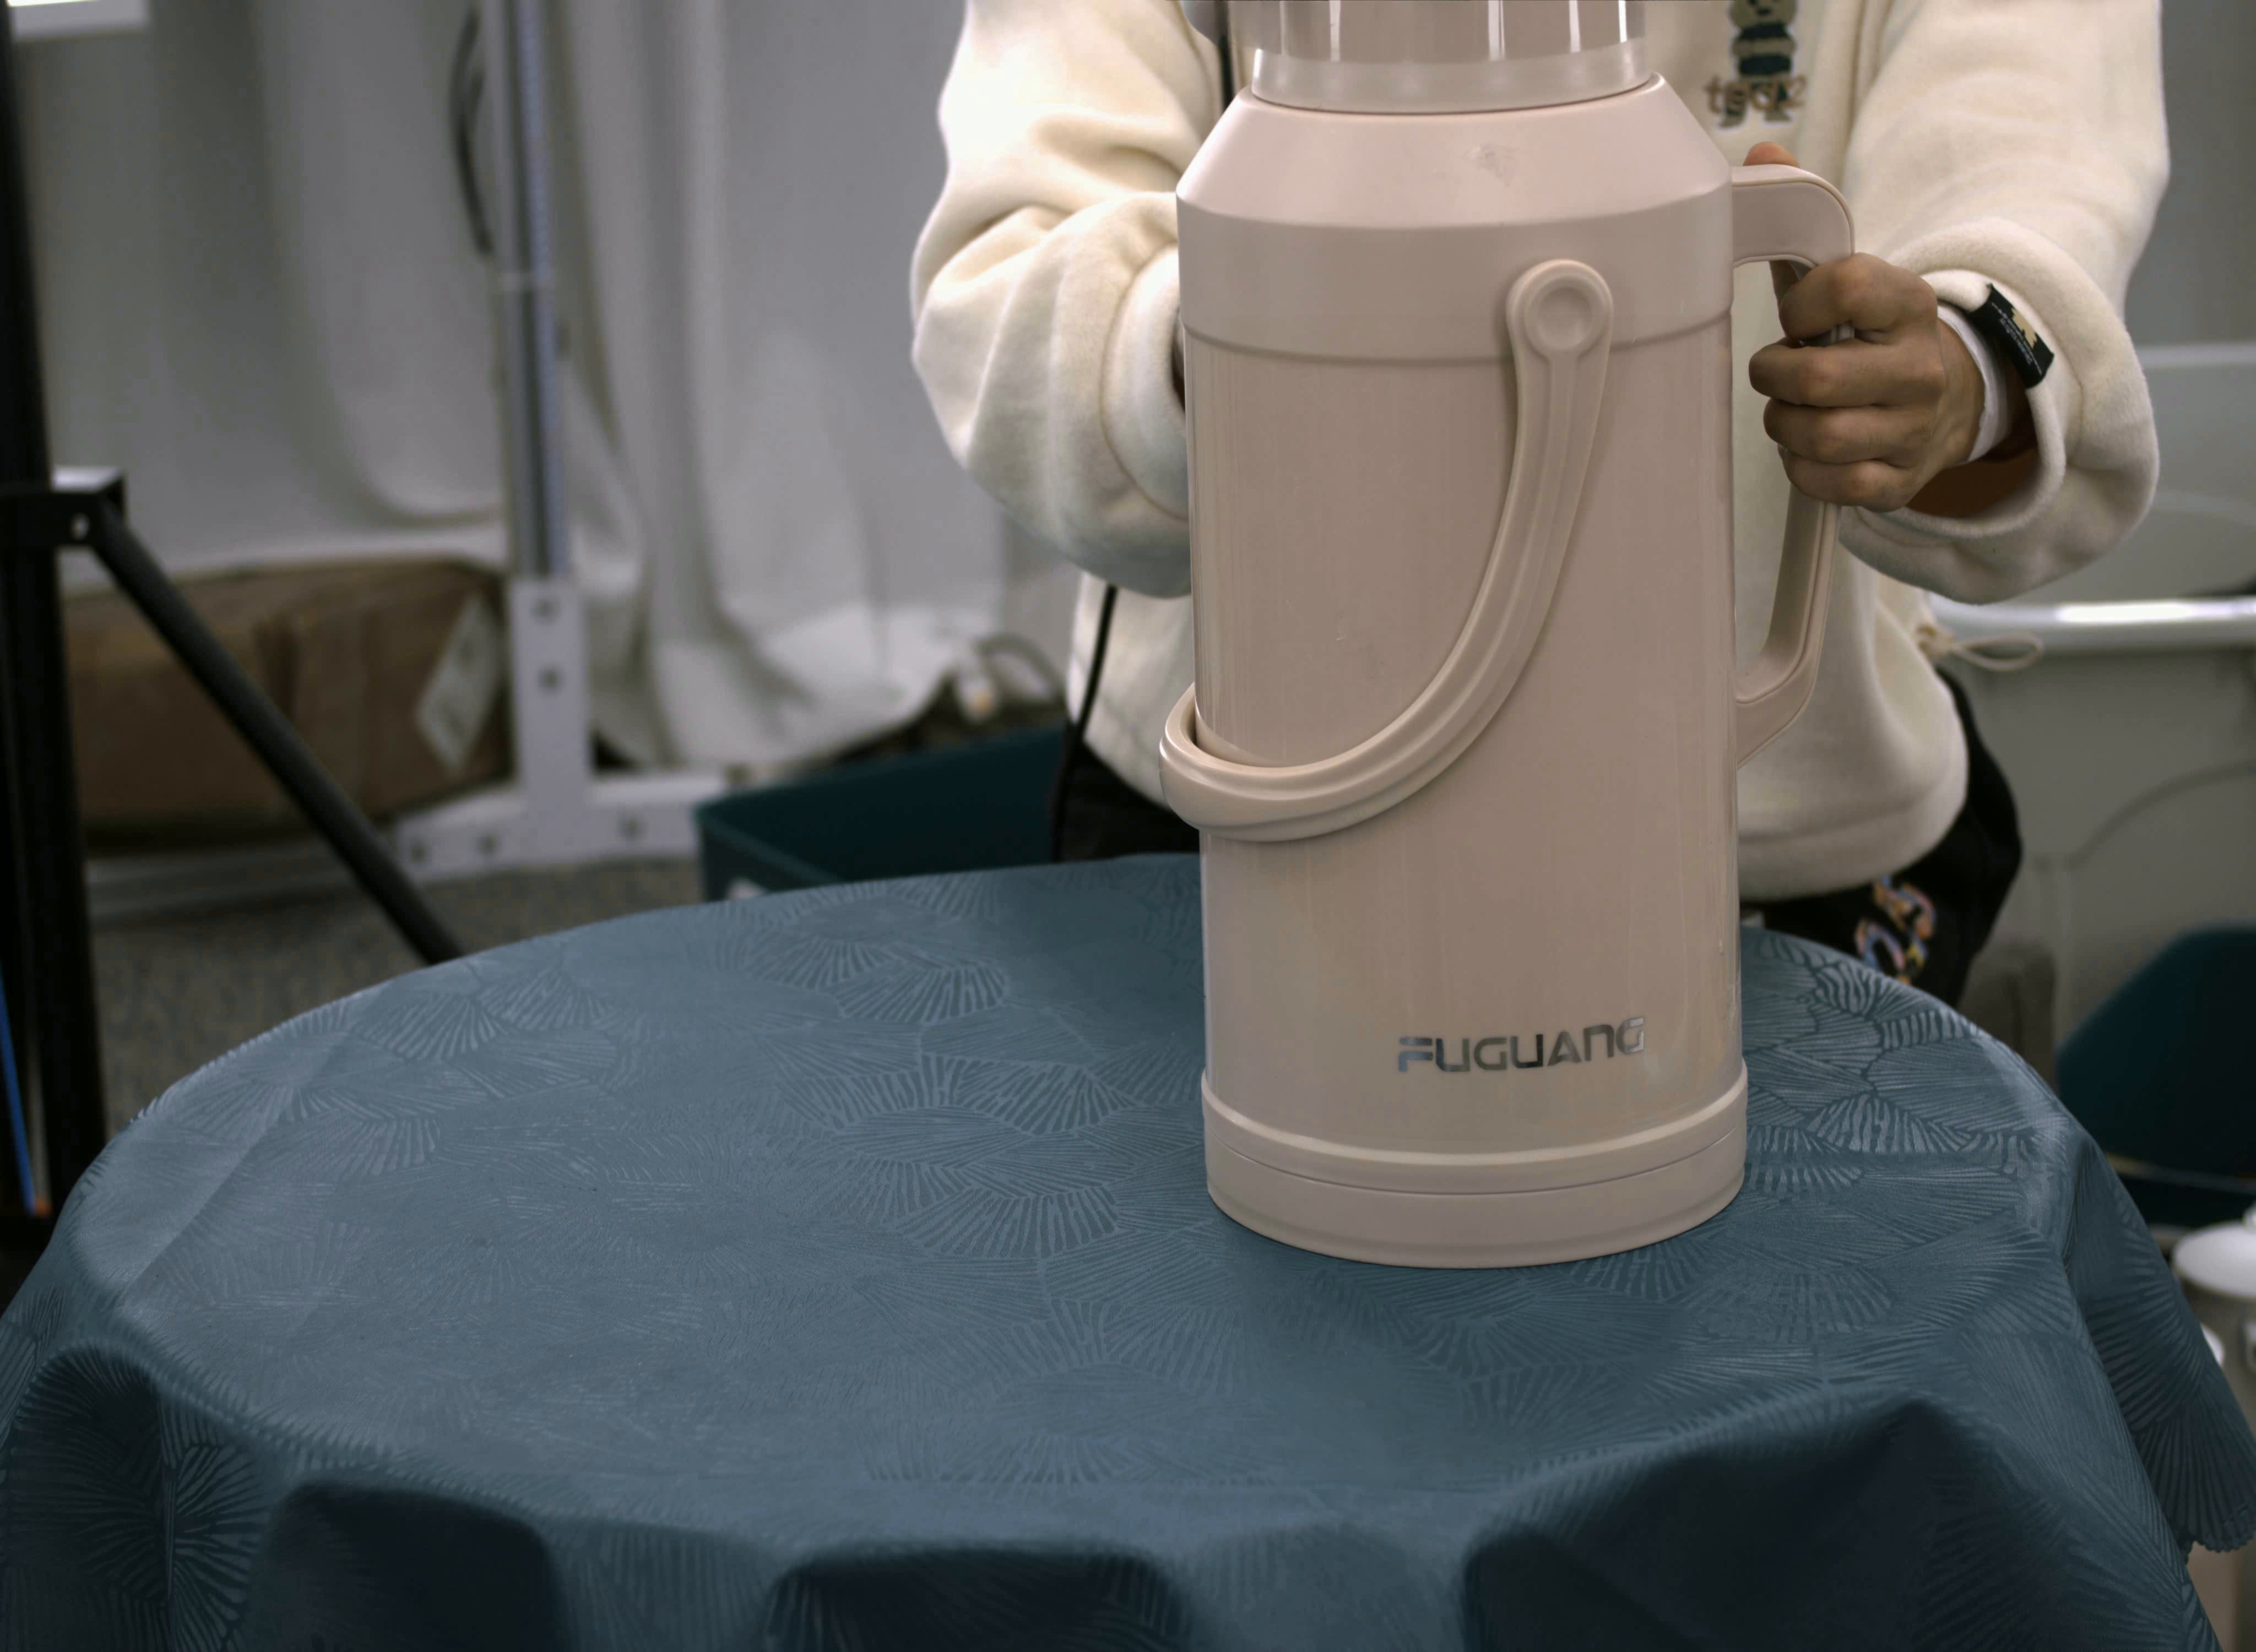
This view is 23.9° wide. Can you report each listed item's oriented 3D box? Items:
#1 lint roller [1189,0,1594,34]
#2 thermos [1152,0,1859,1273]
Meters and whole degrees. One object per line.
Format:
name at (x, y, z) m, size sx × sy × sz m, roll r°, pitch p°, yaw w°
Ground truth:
lint roller at (0.073, -0.225, 1.602) m, size 0.131 × 0.051 × 0.180 m, roll -5°, pitch -28°, yaw -8°
thermos at (0.108, -0.088, 1.508) m, size 0.204 × 0.406 × 0.178 m, roll -6°, pitch 15°, yaw -14°
